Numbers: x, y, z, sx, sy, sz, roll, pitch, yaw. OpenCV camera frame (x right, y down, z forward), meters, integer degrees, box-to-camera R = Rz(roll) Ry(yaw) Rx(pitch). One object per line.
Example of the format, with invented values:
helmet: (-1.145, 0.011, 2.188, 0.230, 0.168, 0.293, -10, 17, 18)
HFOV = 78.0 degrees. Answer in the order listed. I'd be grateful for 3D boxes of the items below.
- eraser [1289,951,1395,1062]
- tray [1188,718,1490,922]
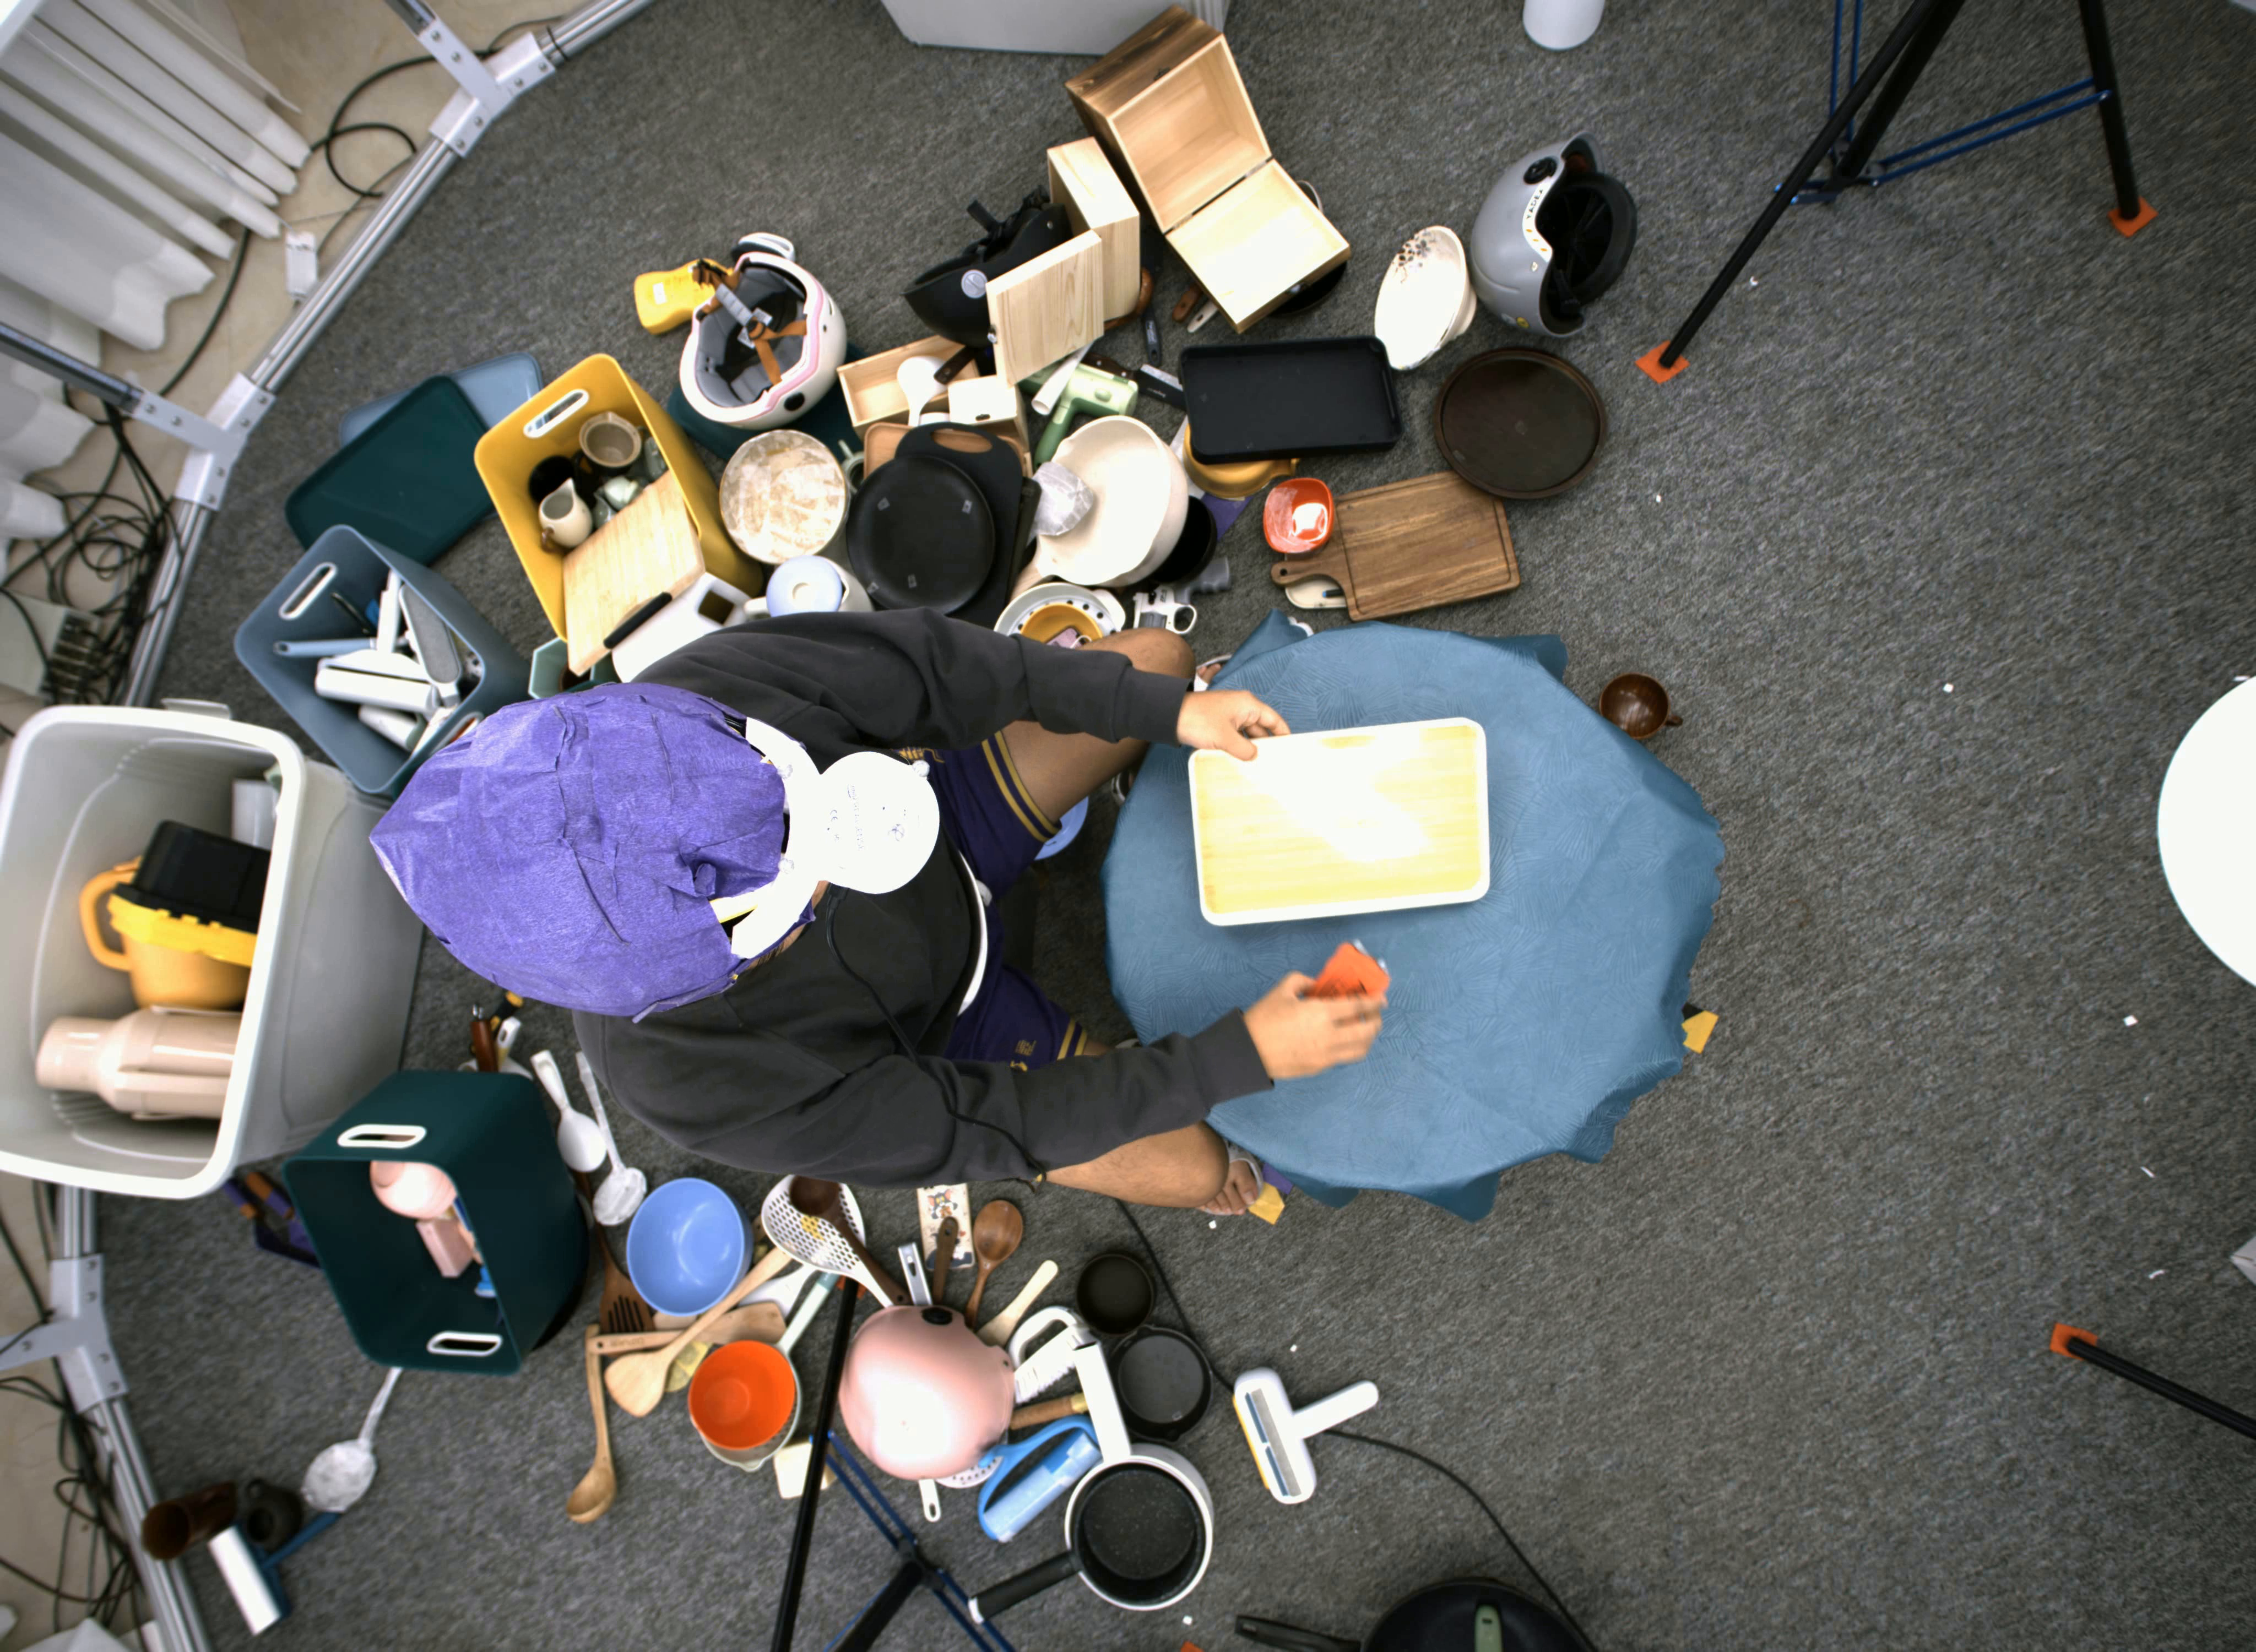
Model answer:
eraser: (0.212, 0.178, 1.373, 0.059, 0.022, 0.110, 39, 113, 7)
tray: (0.216, -0.007, 1.409, 0.301, 0.027, 0.194, -5, 108, 2)
